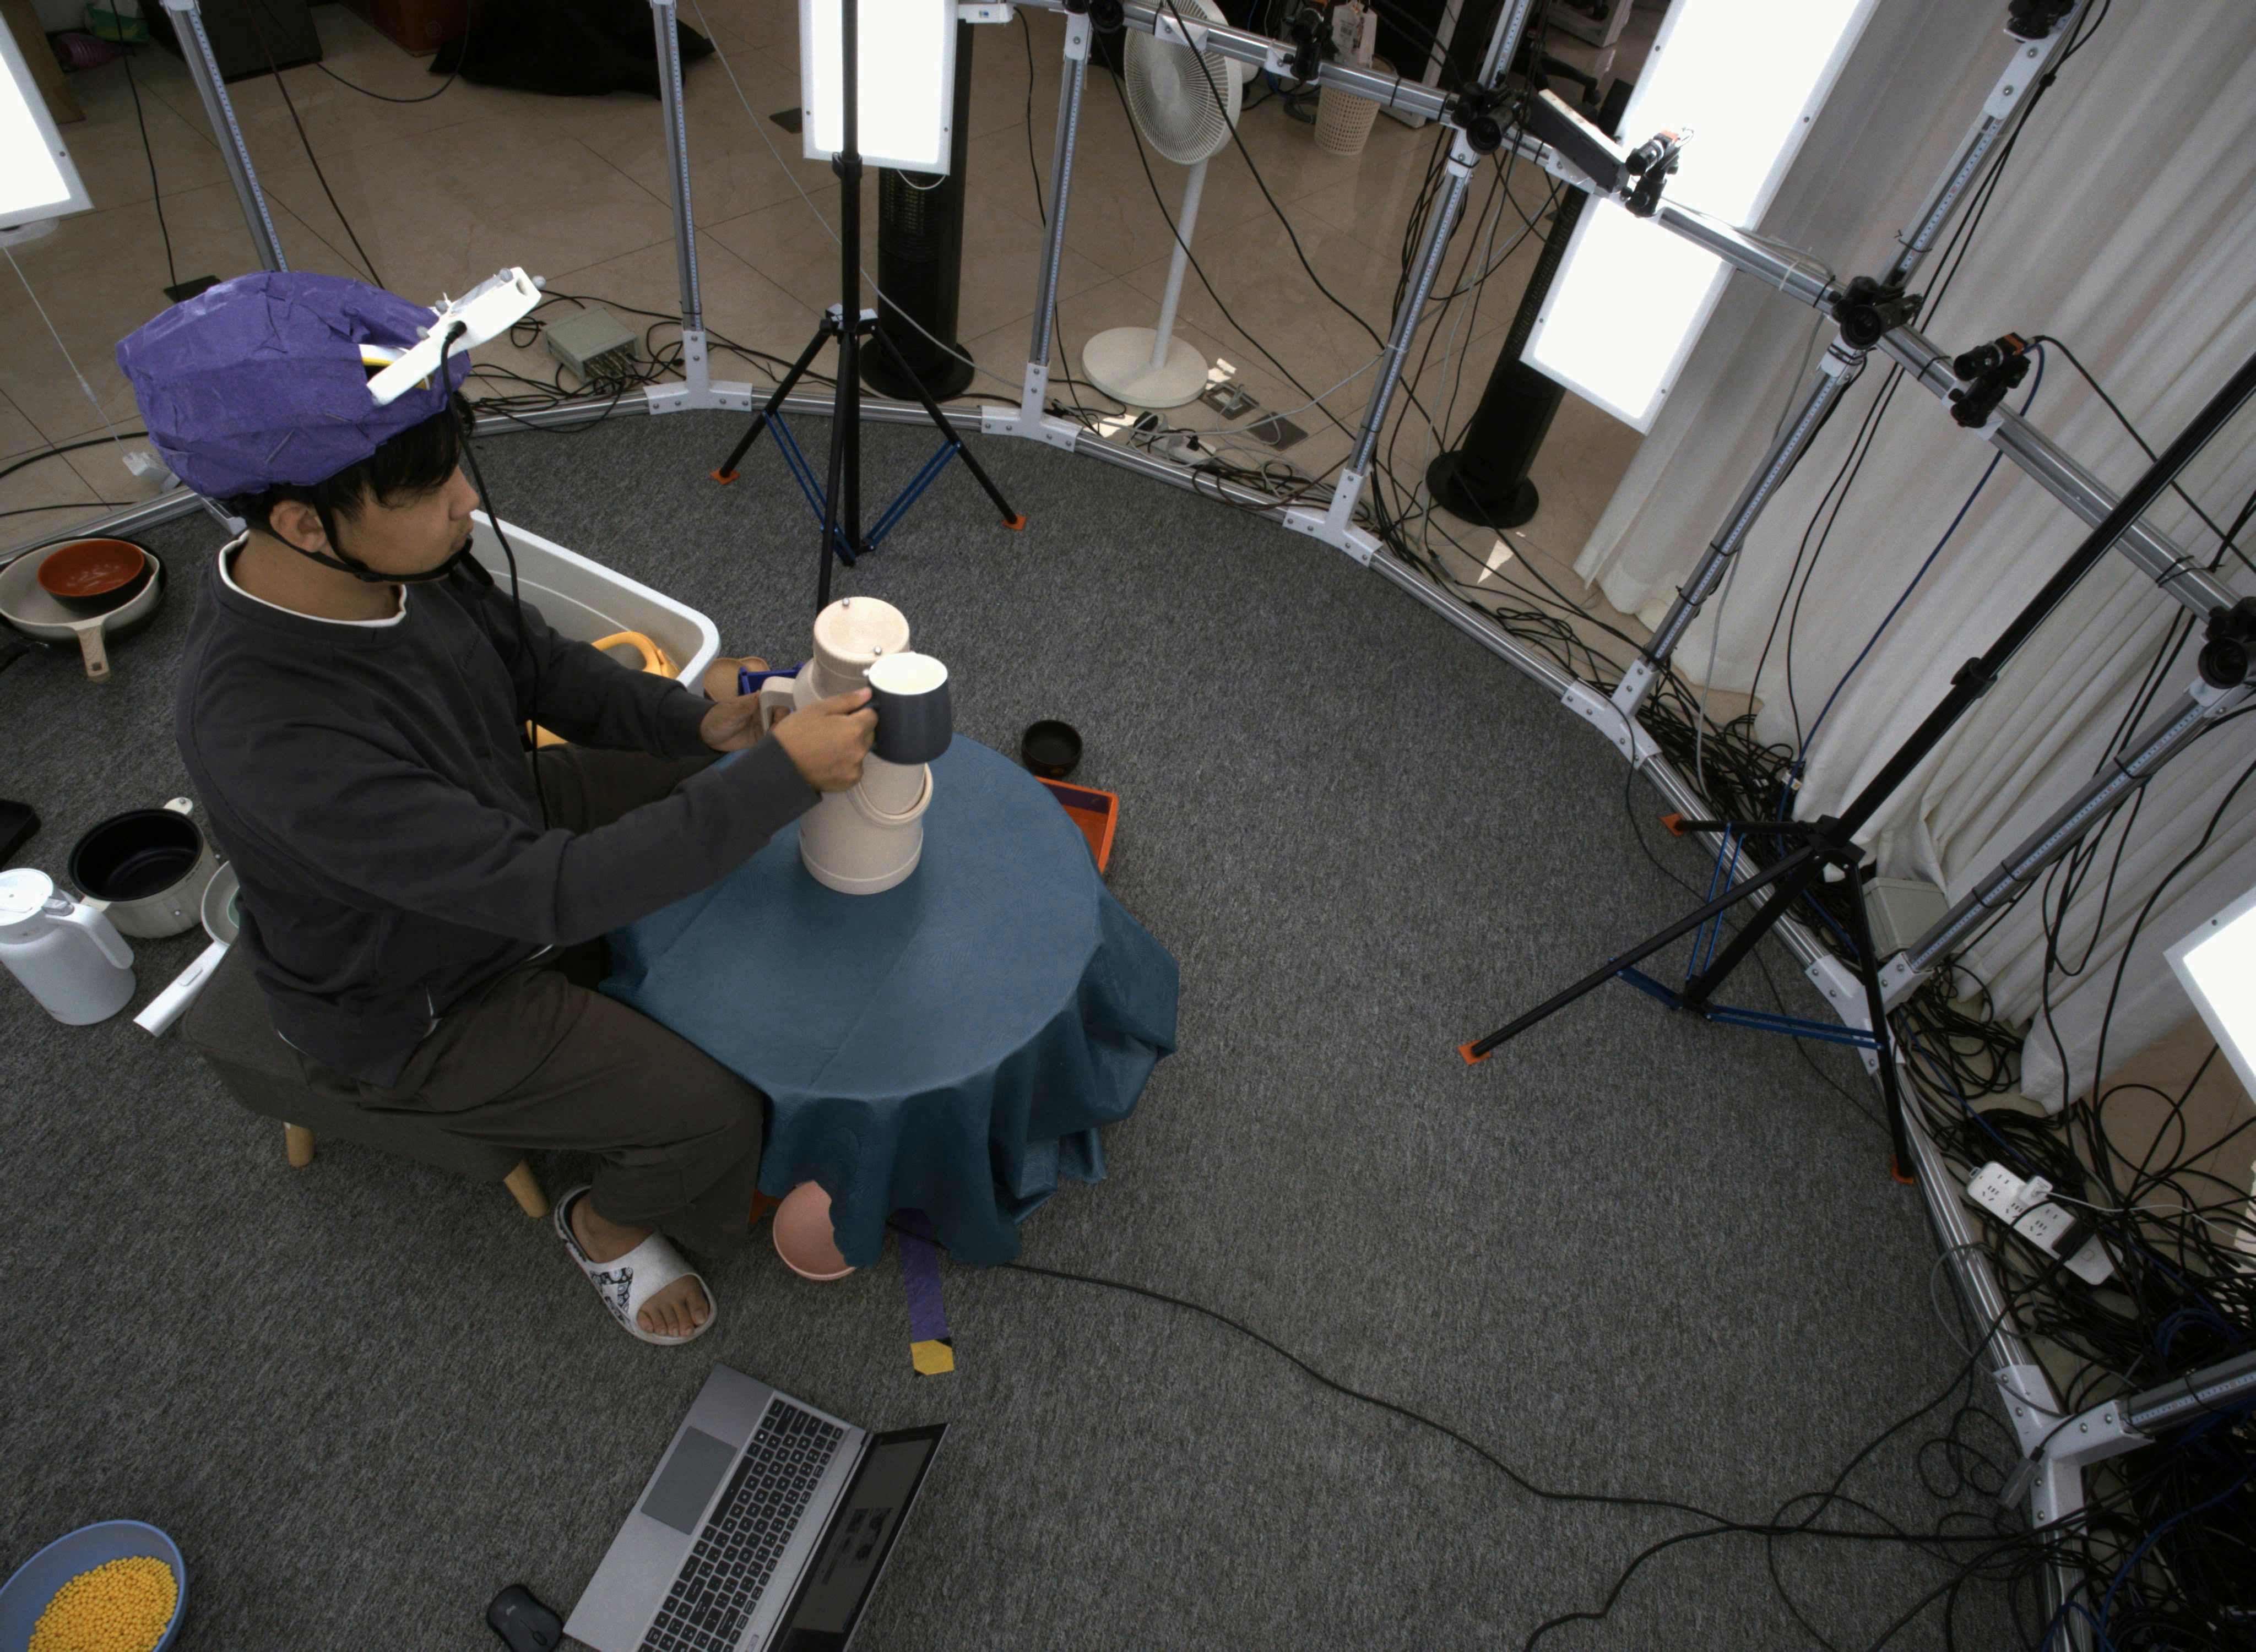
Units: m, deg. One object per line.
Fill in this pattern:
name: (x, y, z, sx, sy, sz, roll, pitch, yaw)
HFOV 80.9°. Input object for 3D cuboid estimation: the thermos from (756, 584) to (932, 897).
thermos: (-0.337, -0.100, 1.560, 0.206, 0.415, 0.172, 7, 51, -6)

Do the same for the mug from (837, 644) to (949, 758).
mug: (-0.242, -0.122, 1.325, 0.124, 0.092, 0.090, -26, 49, -36)
